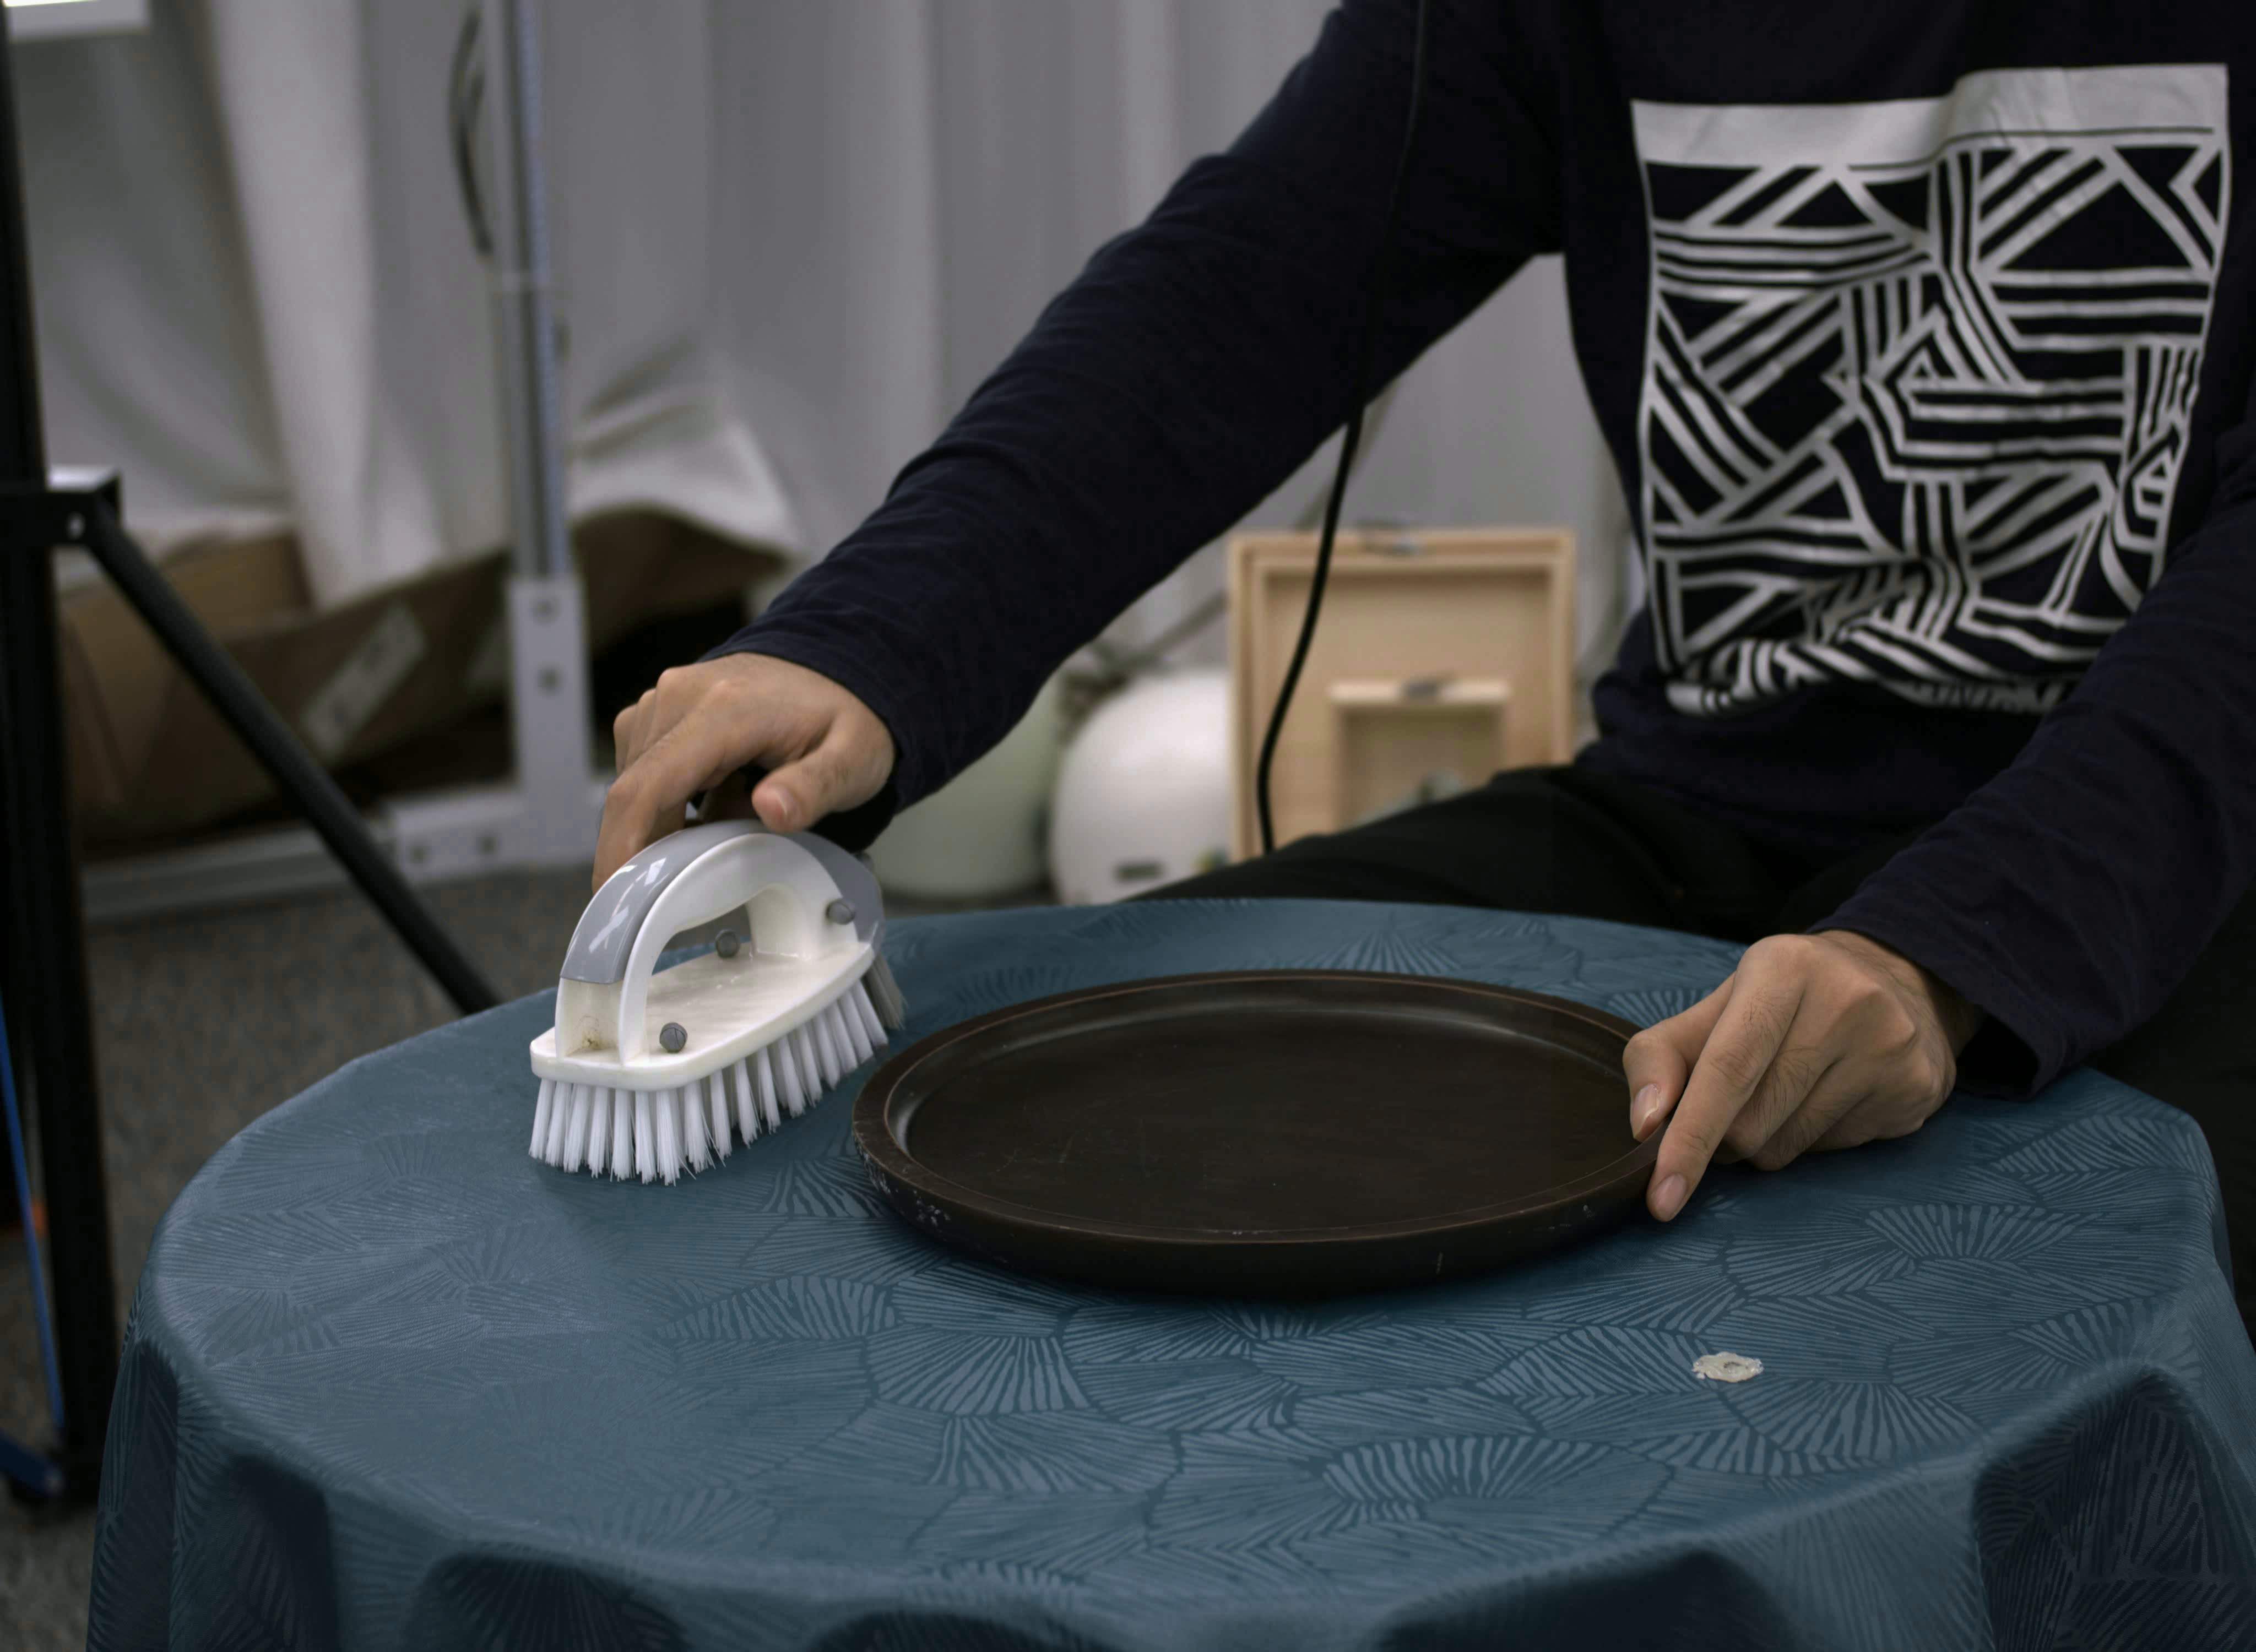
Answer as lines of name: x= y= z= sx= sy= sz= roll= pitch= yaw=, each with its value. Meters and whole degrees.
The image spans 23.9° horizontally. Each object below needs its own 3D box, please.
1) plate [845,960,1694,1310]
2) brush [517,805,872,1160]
plate: x=0.042 y=0.090 z=1.578 sx=0.253 sy=0.029 sz=0.256 roll=-3 pitch=17 yaw=0
brush: x=-0.124 y=0.038 z=1.657 sx=0.062 sy=0.094 sz=0.172 roll=9 pitch=17 yaw=26
